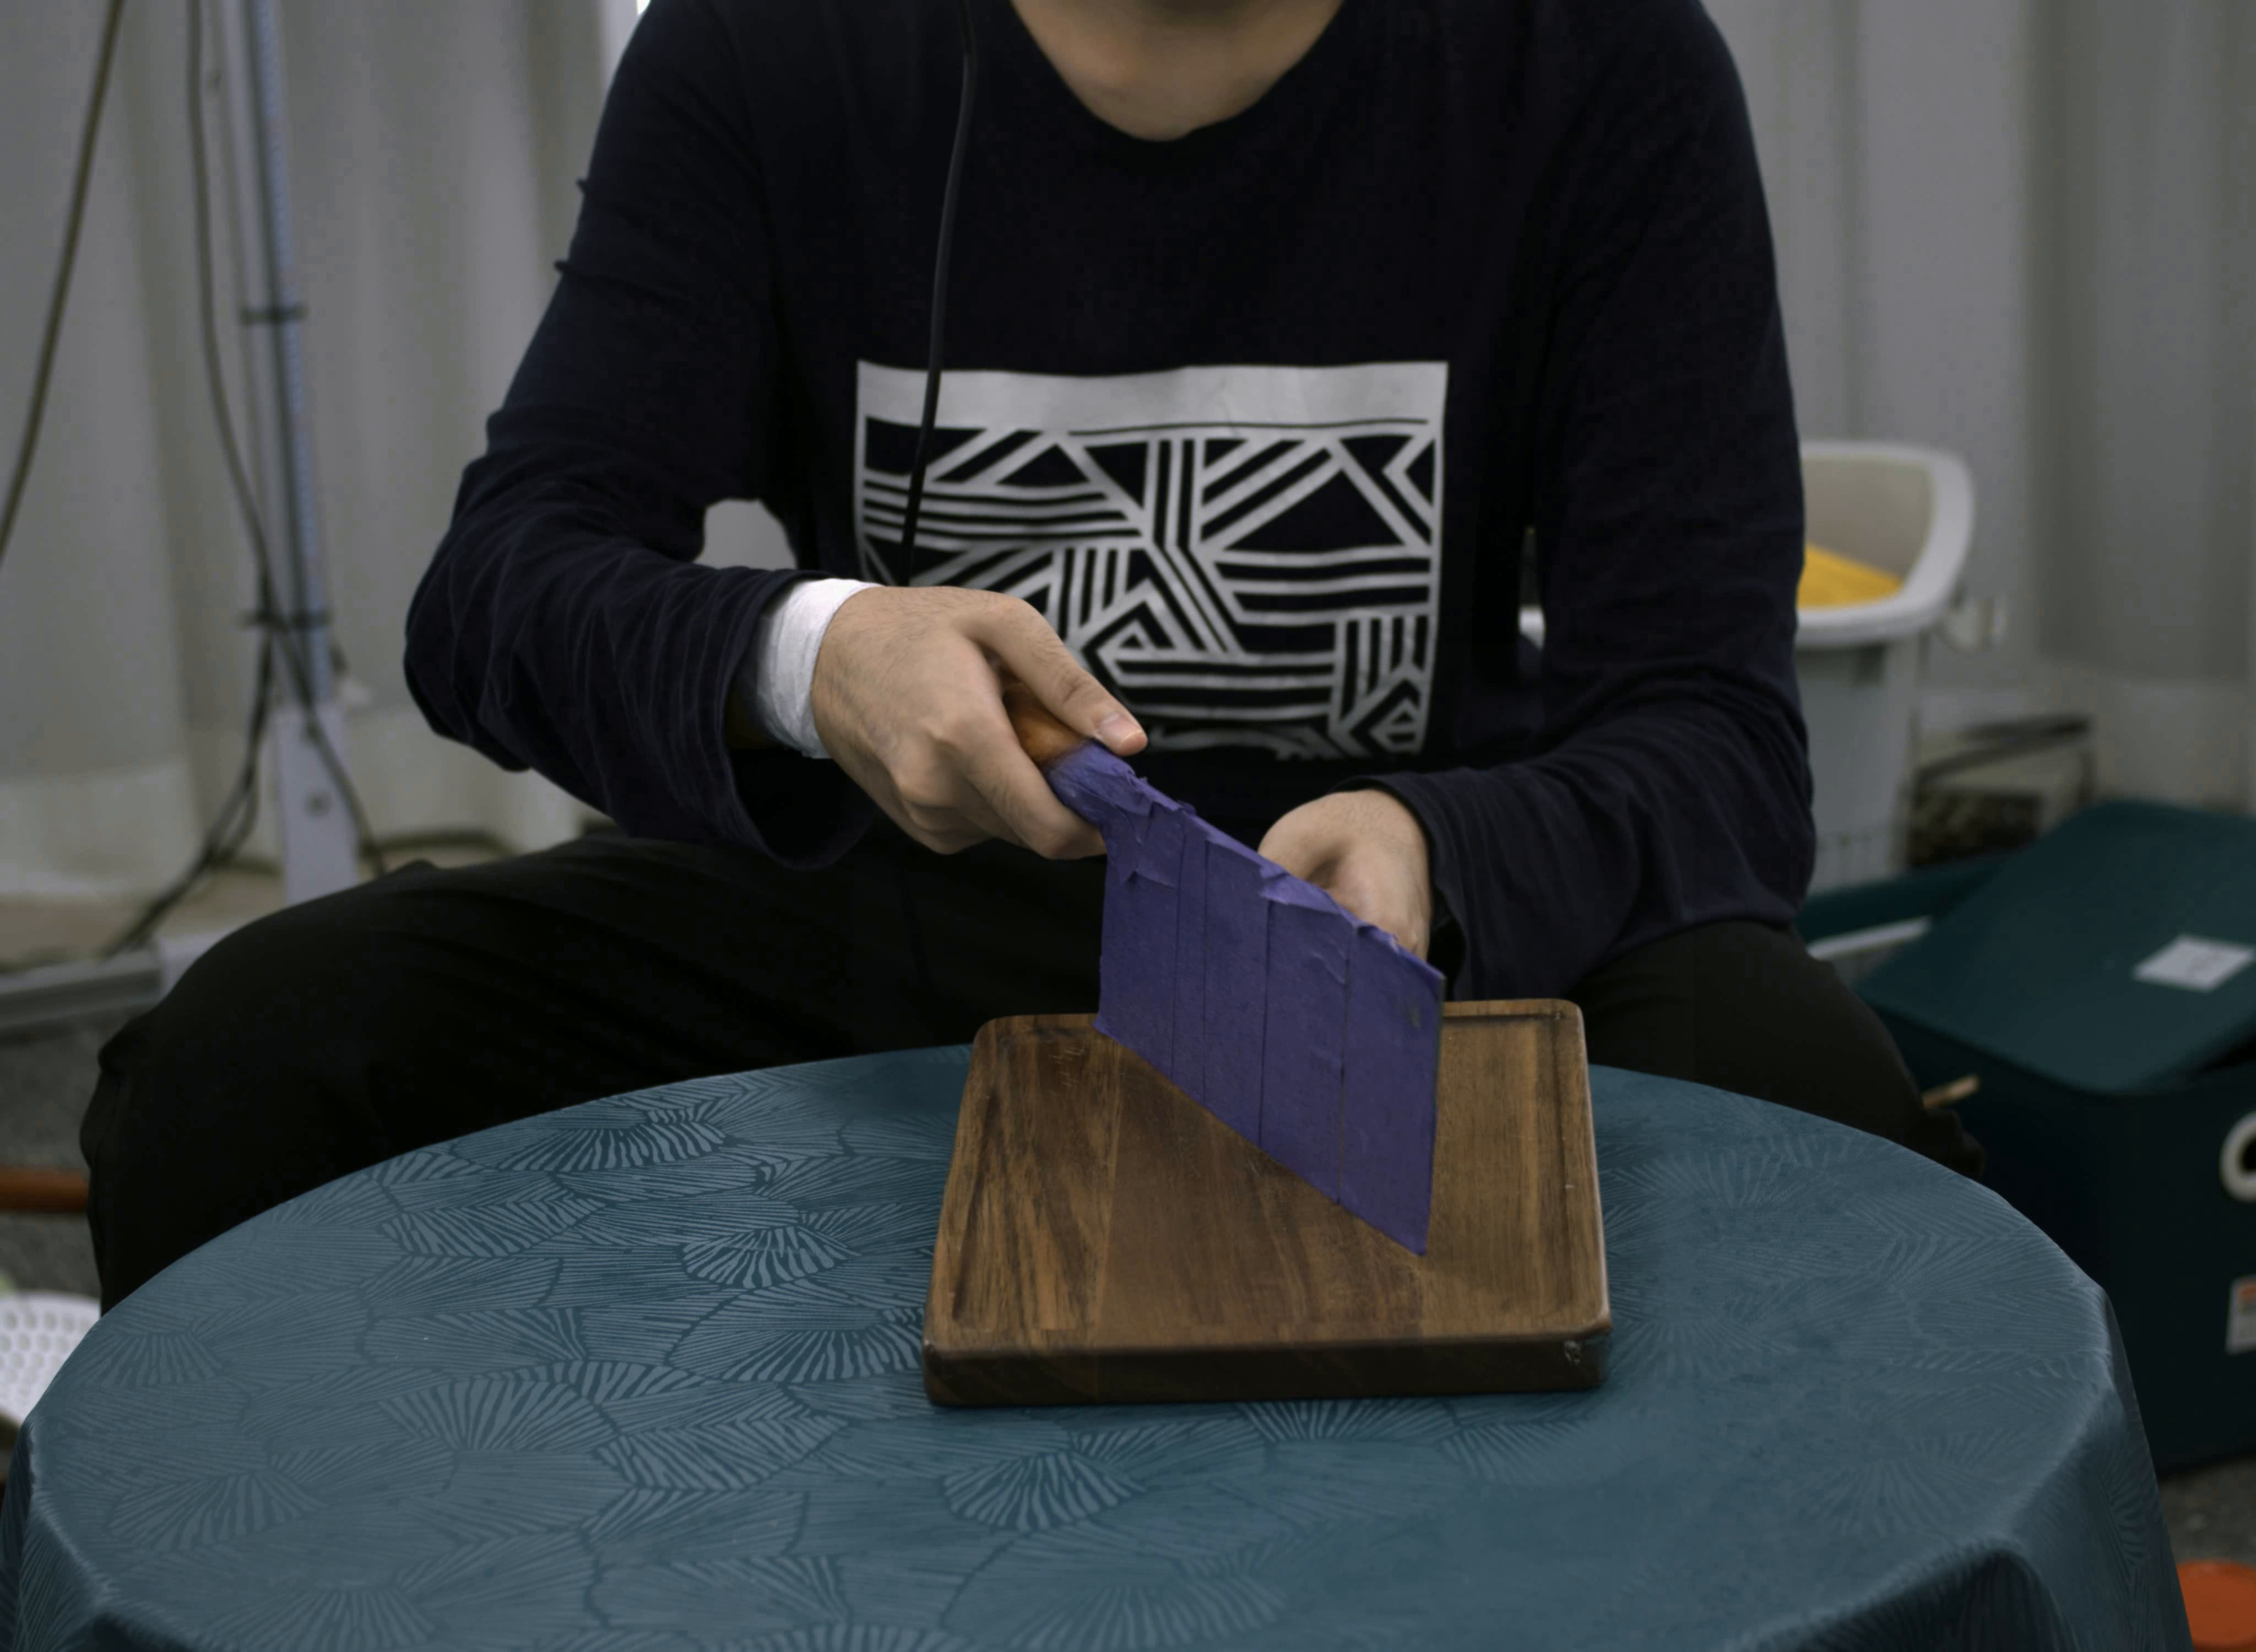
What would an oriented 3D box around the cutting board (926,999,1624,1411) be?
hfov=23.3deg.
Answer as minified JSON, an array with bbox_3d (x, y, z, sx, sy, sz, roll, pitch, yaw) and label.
[{"bbox_3d":[0.046,0.093,1.693,0.200,0.023,0.355,-2,20,4],"label":"cutting board"}]

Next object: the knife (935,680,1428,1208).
[{"bbox_3d":[0.012,0.035,1.691,0.032,0.103,0.318,-3,17,-24],"label":"knife"}]
